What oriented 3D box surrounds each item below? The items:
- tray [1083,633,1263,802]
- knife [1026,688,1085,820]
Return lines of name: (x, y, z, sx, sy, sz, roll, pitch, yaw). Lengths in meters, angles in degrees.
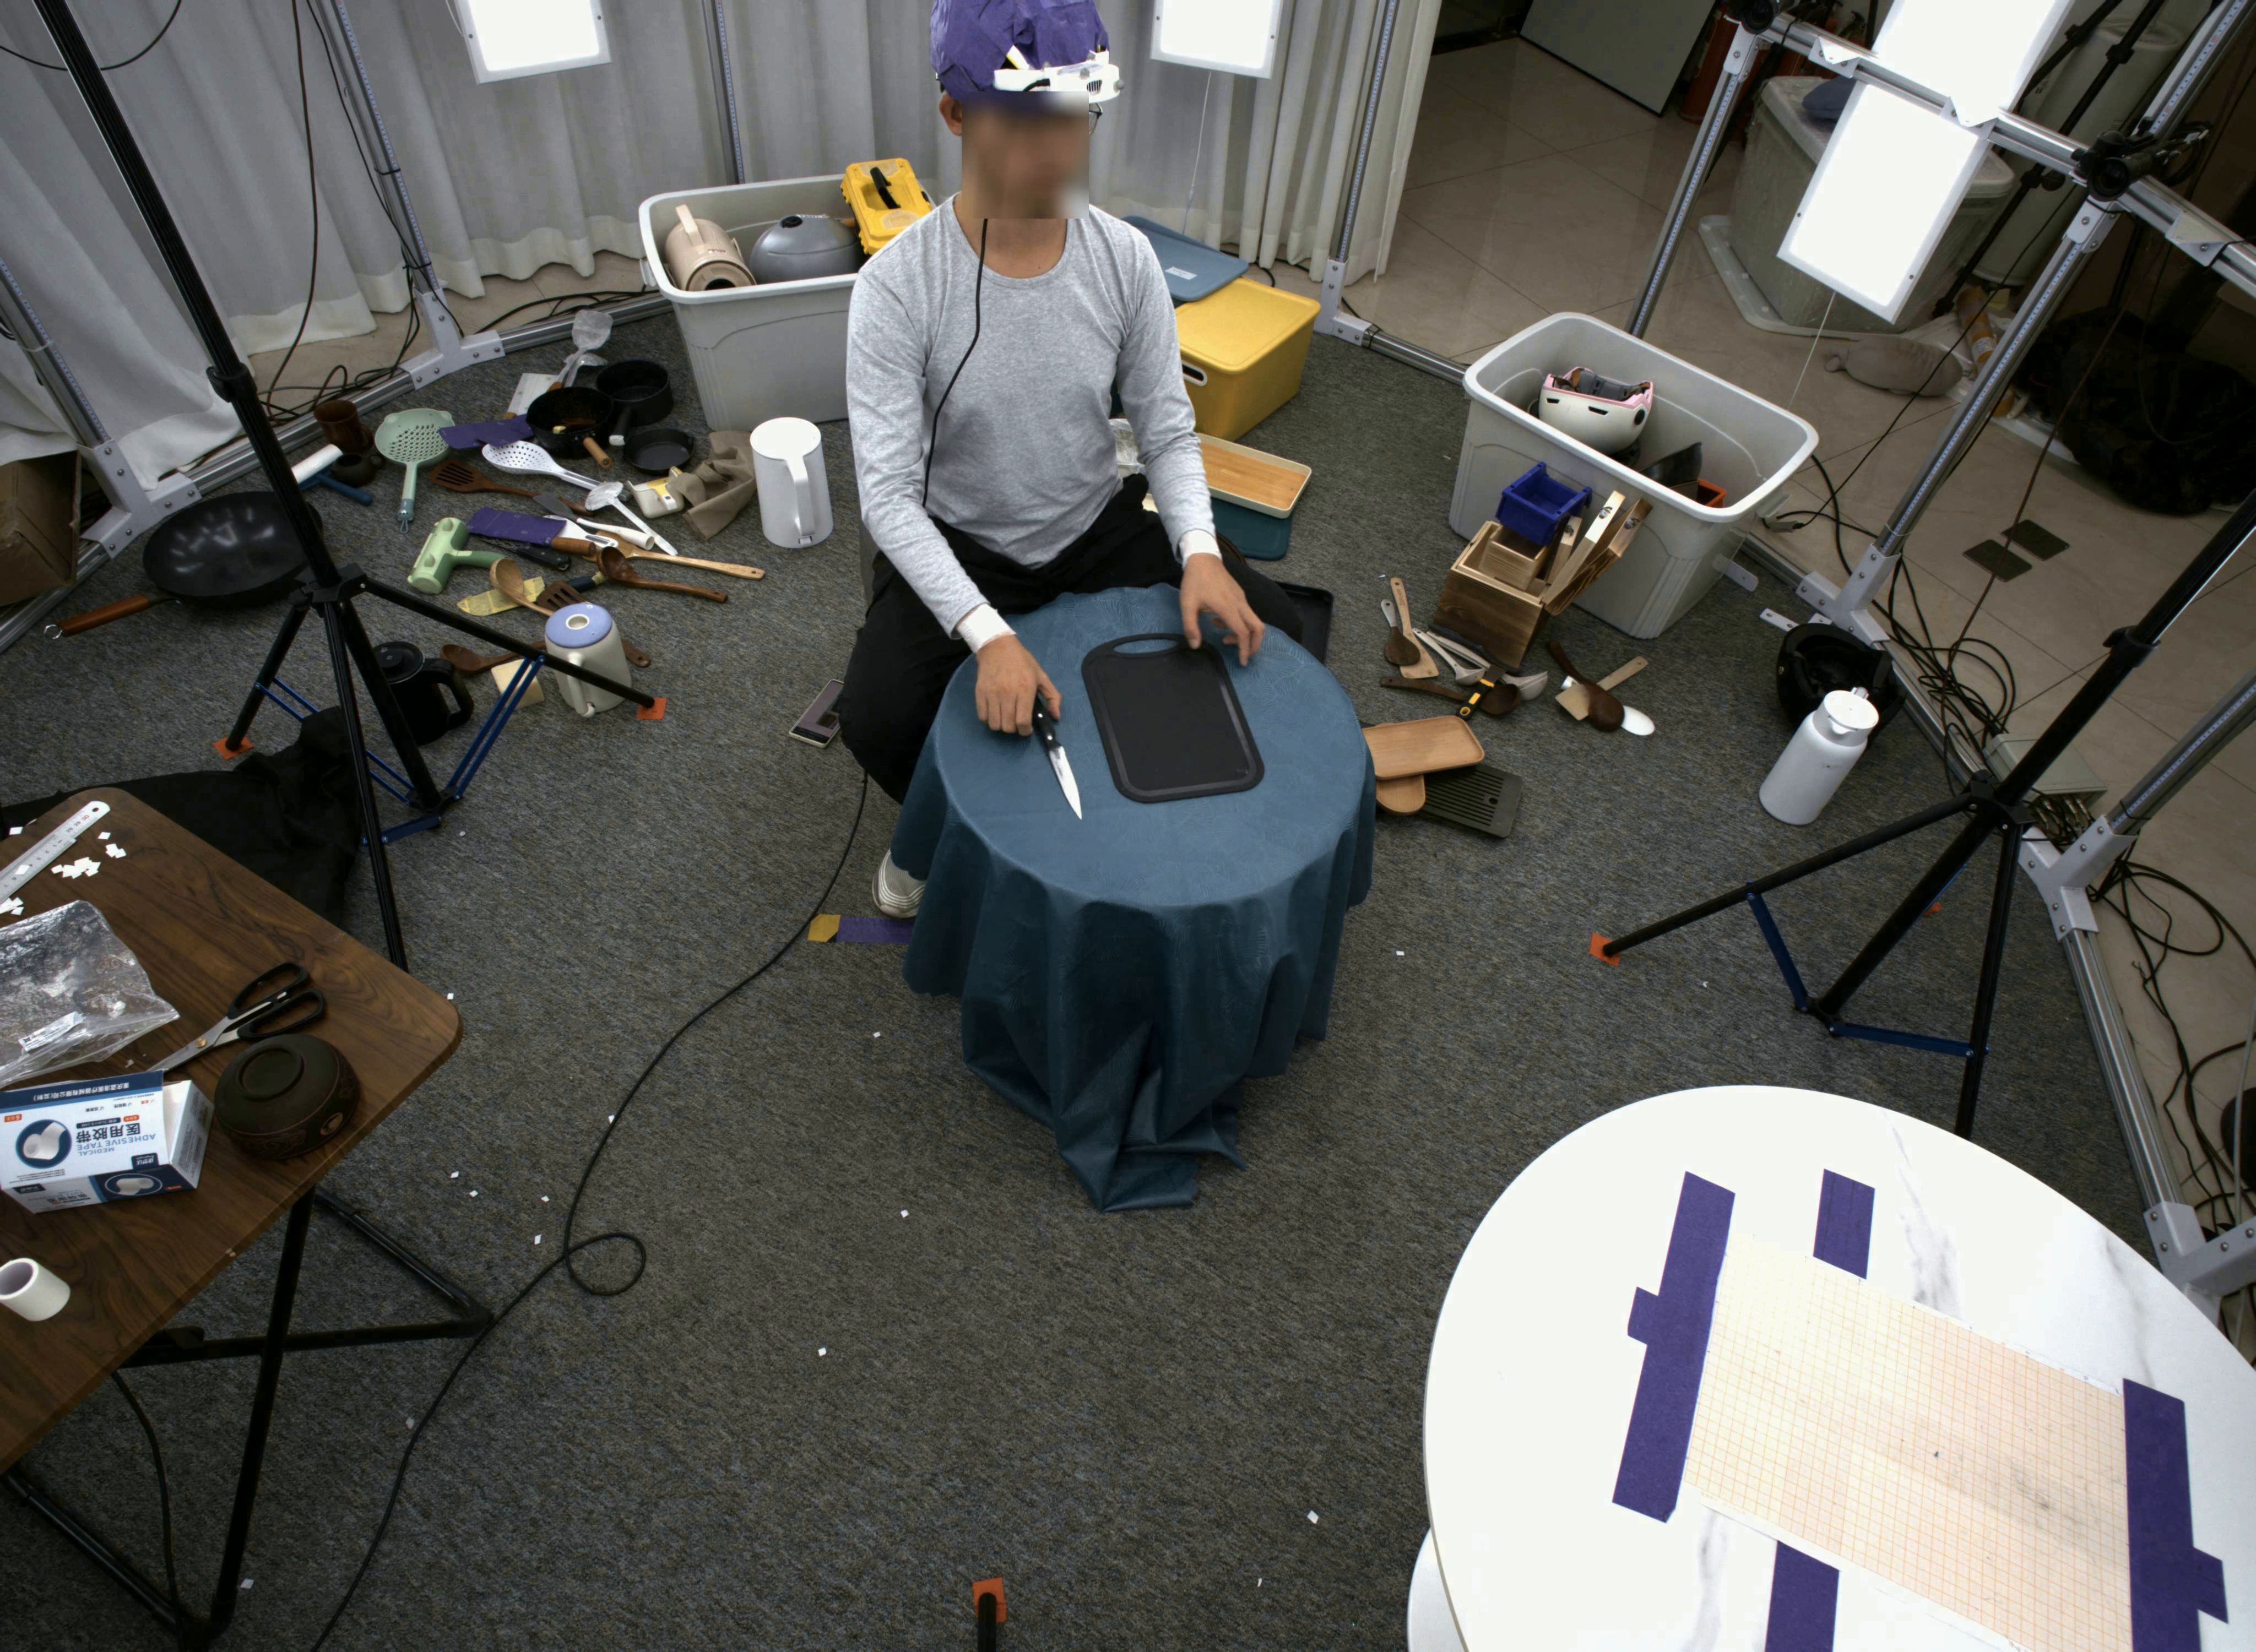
tray: (0.056, -0.164, 1.809, 0.211, 0.009, 0.333, -7, 50, -10)
knife: (-0.099, -0.099, 1.739, 0.024, 0.016, 0.244, -13, 54, -14)
